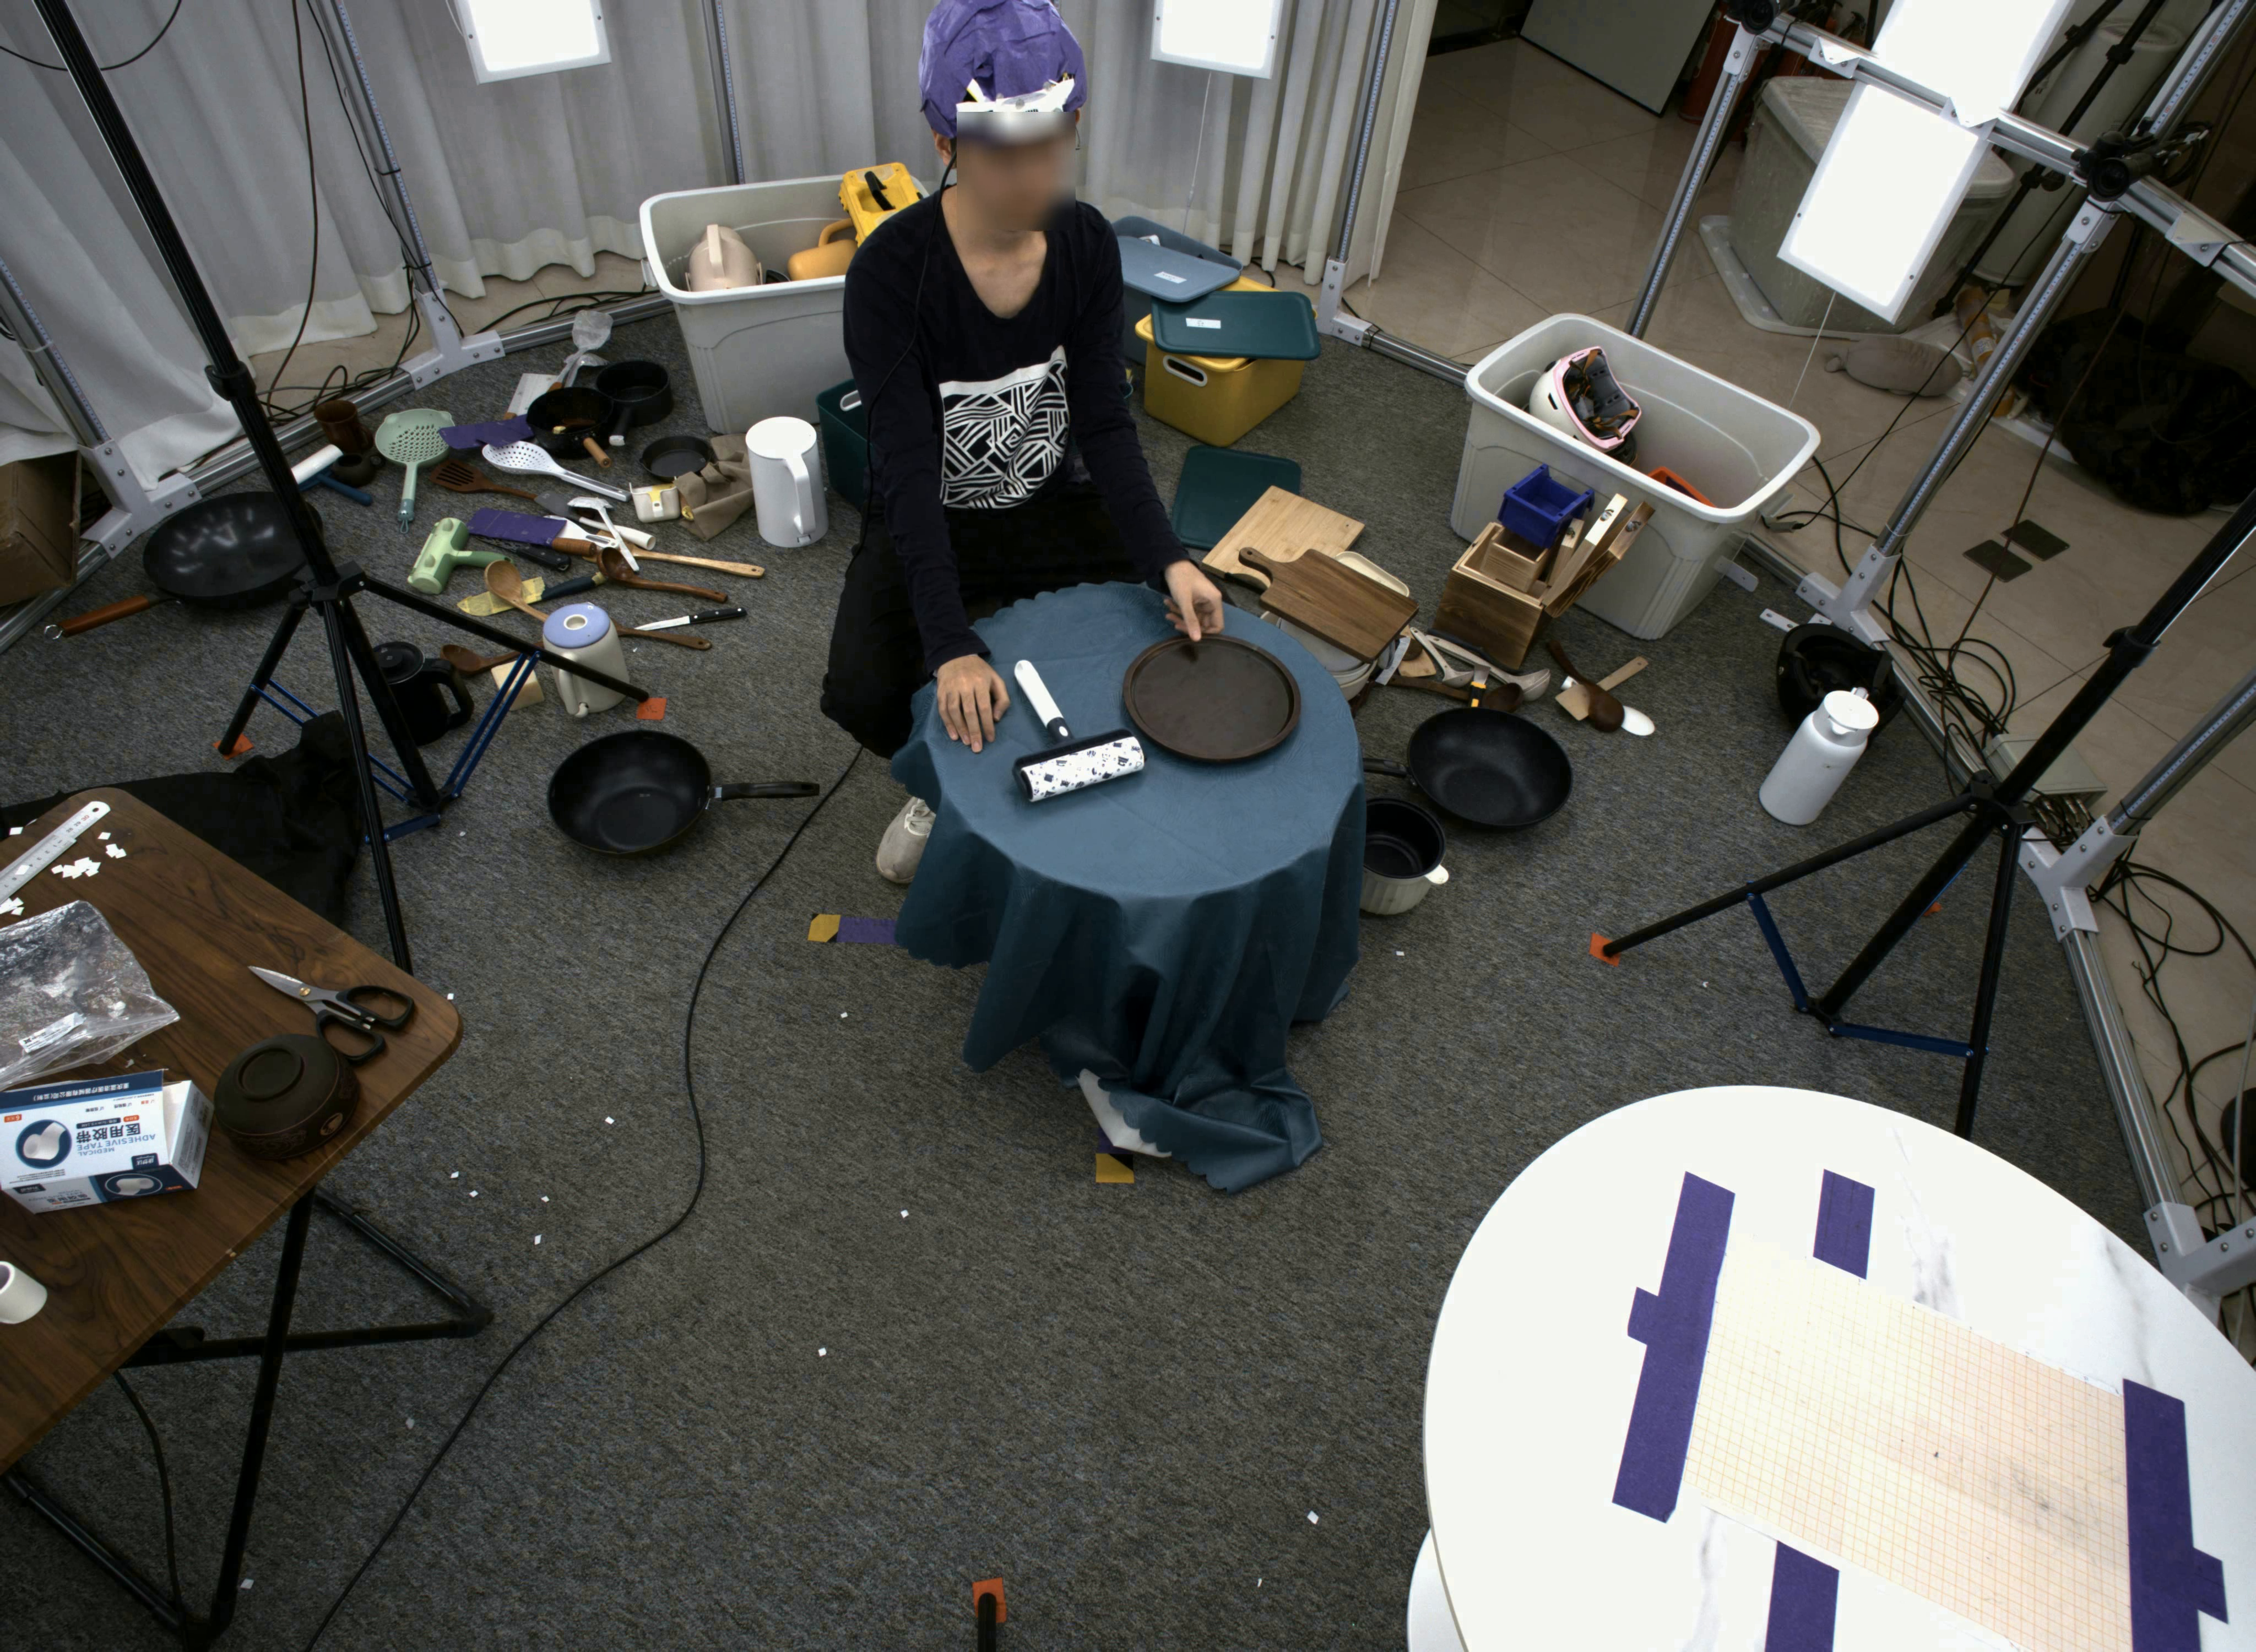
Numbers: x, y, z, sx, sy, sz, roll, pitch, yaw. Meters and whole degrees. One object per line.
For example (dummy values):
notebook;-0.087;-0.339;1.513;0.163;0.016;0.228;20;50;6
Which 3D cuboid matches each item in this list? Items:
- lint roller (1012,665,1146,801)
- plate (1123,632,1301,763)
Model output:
lint roller;-0.104;-0.147;1.761;0.176;0.049;0.253;-18;51;-17
plate;0.118;-0.184;1.820;0.254;0.028;0.261;1;48;-2
